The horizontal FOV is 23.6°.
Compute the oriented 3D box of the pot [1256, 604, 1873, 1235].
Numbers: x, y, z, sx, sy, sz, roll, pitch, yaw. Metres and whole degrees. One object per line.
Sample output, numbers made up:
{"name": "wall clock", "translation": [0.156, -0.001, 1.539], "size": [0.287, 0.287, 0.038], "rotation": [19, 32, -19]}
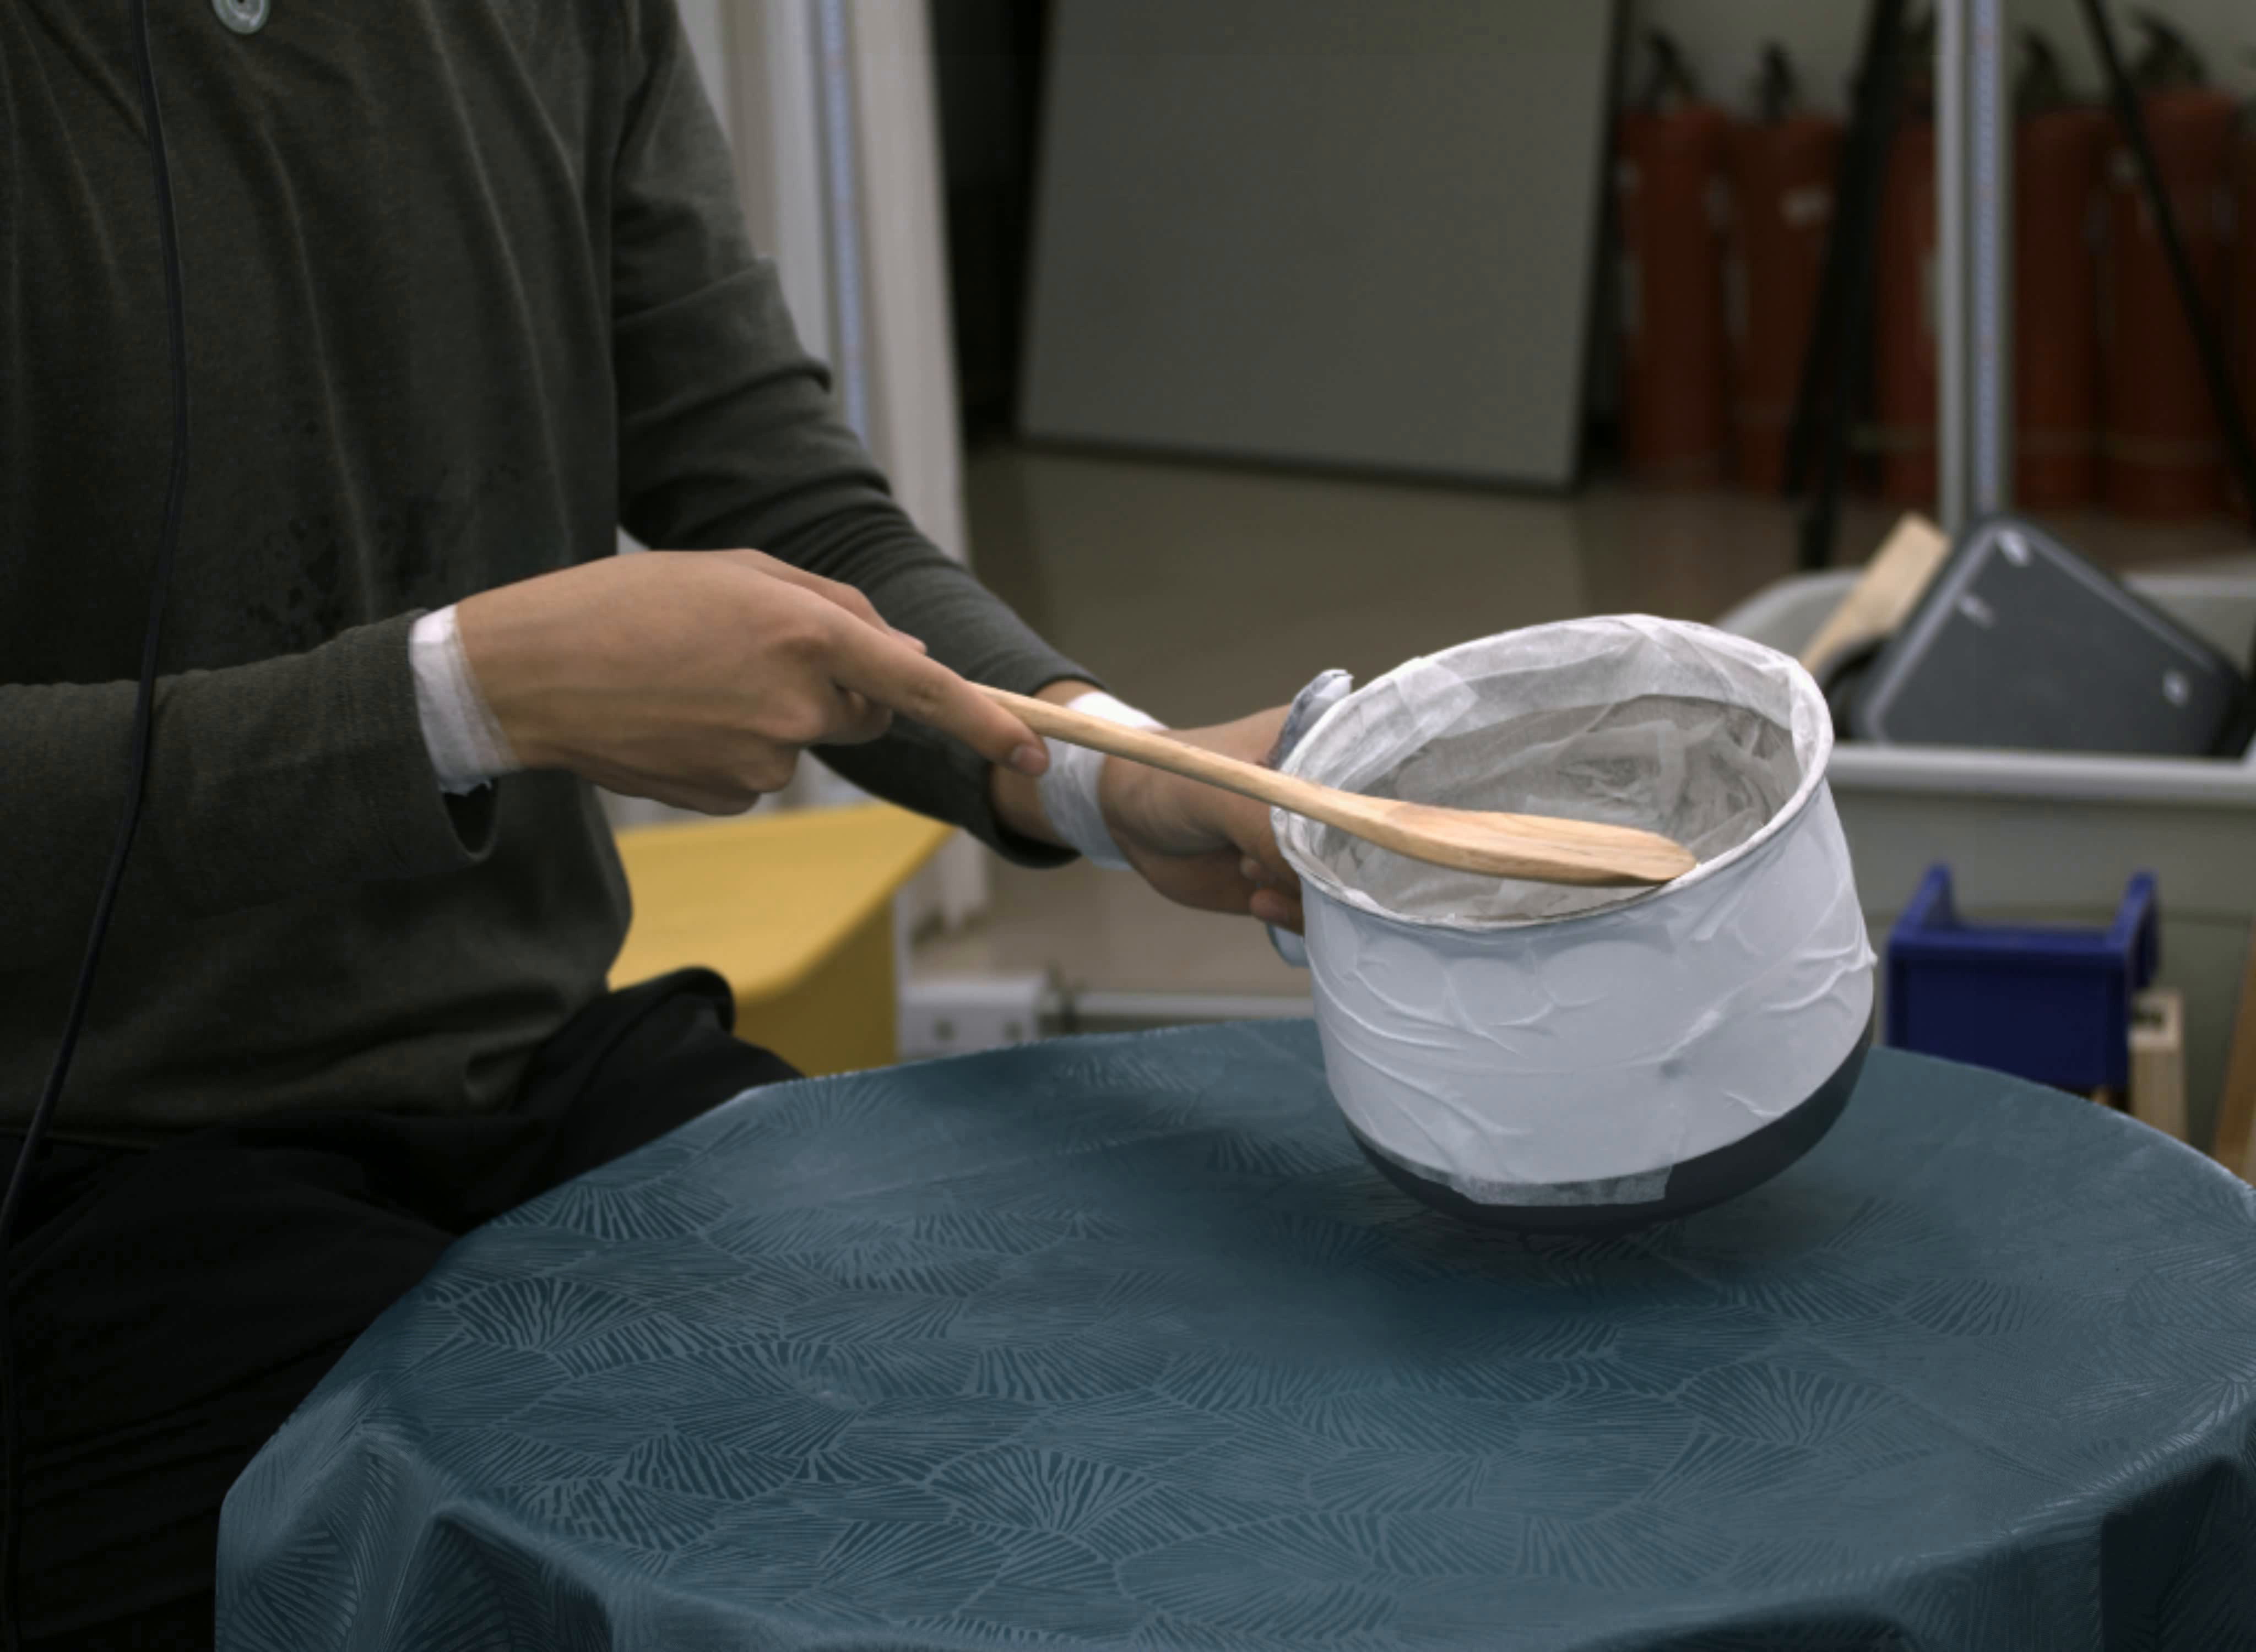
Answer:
{"name": "pot", "translation": [0.123, 0.024, 1.703], "size": [0.176, 0.137, 0.236], "rotation": [-32, 35, -32]}

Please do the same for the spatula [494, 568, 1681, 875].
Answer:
{"name": "spatula", "translation": [-0.019, -0.032, 1.653], "size": [0.390, 0.019, 0.095], "rotation": [15, 8, 16]}
